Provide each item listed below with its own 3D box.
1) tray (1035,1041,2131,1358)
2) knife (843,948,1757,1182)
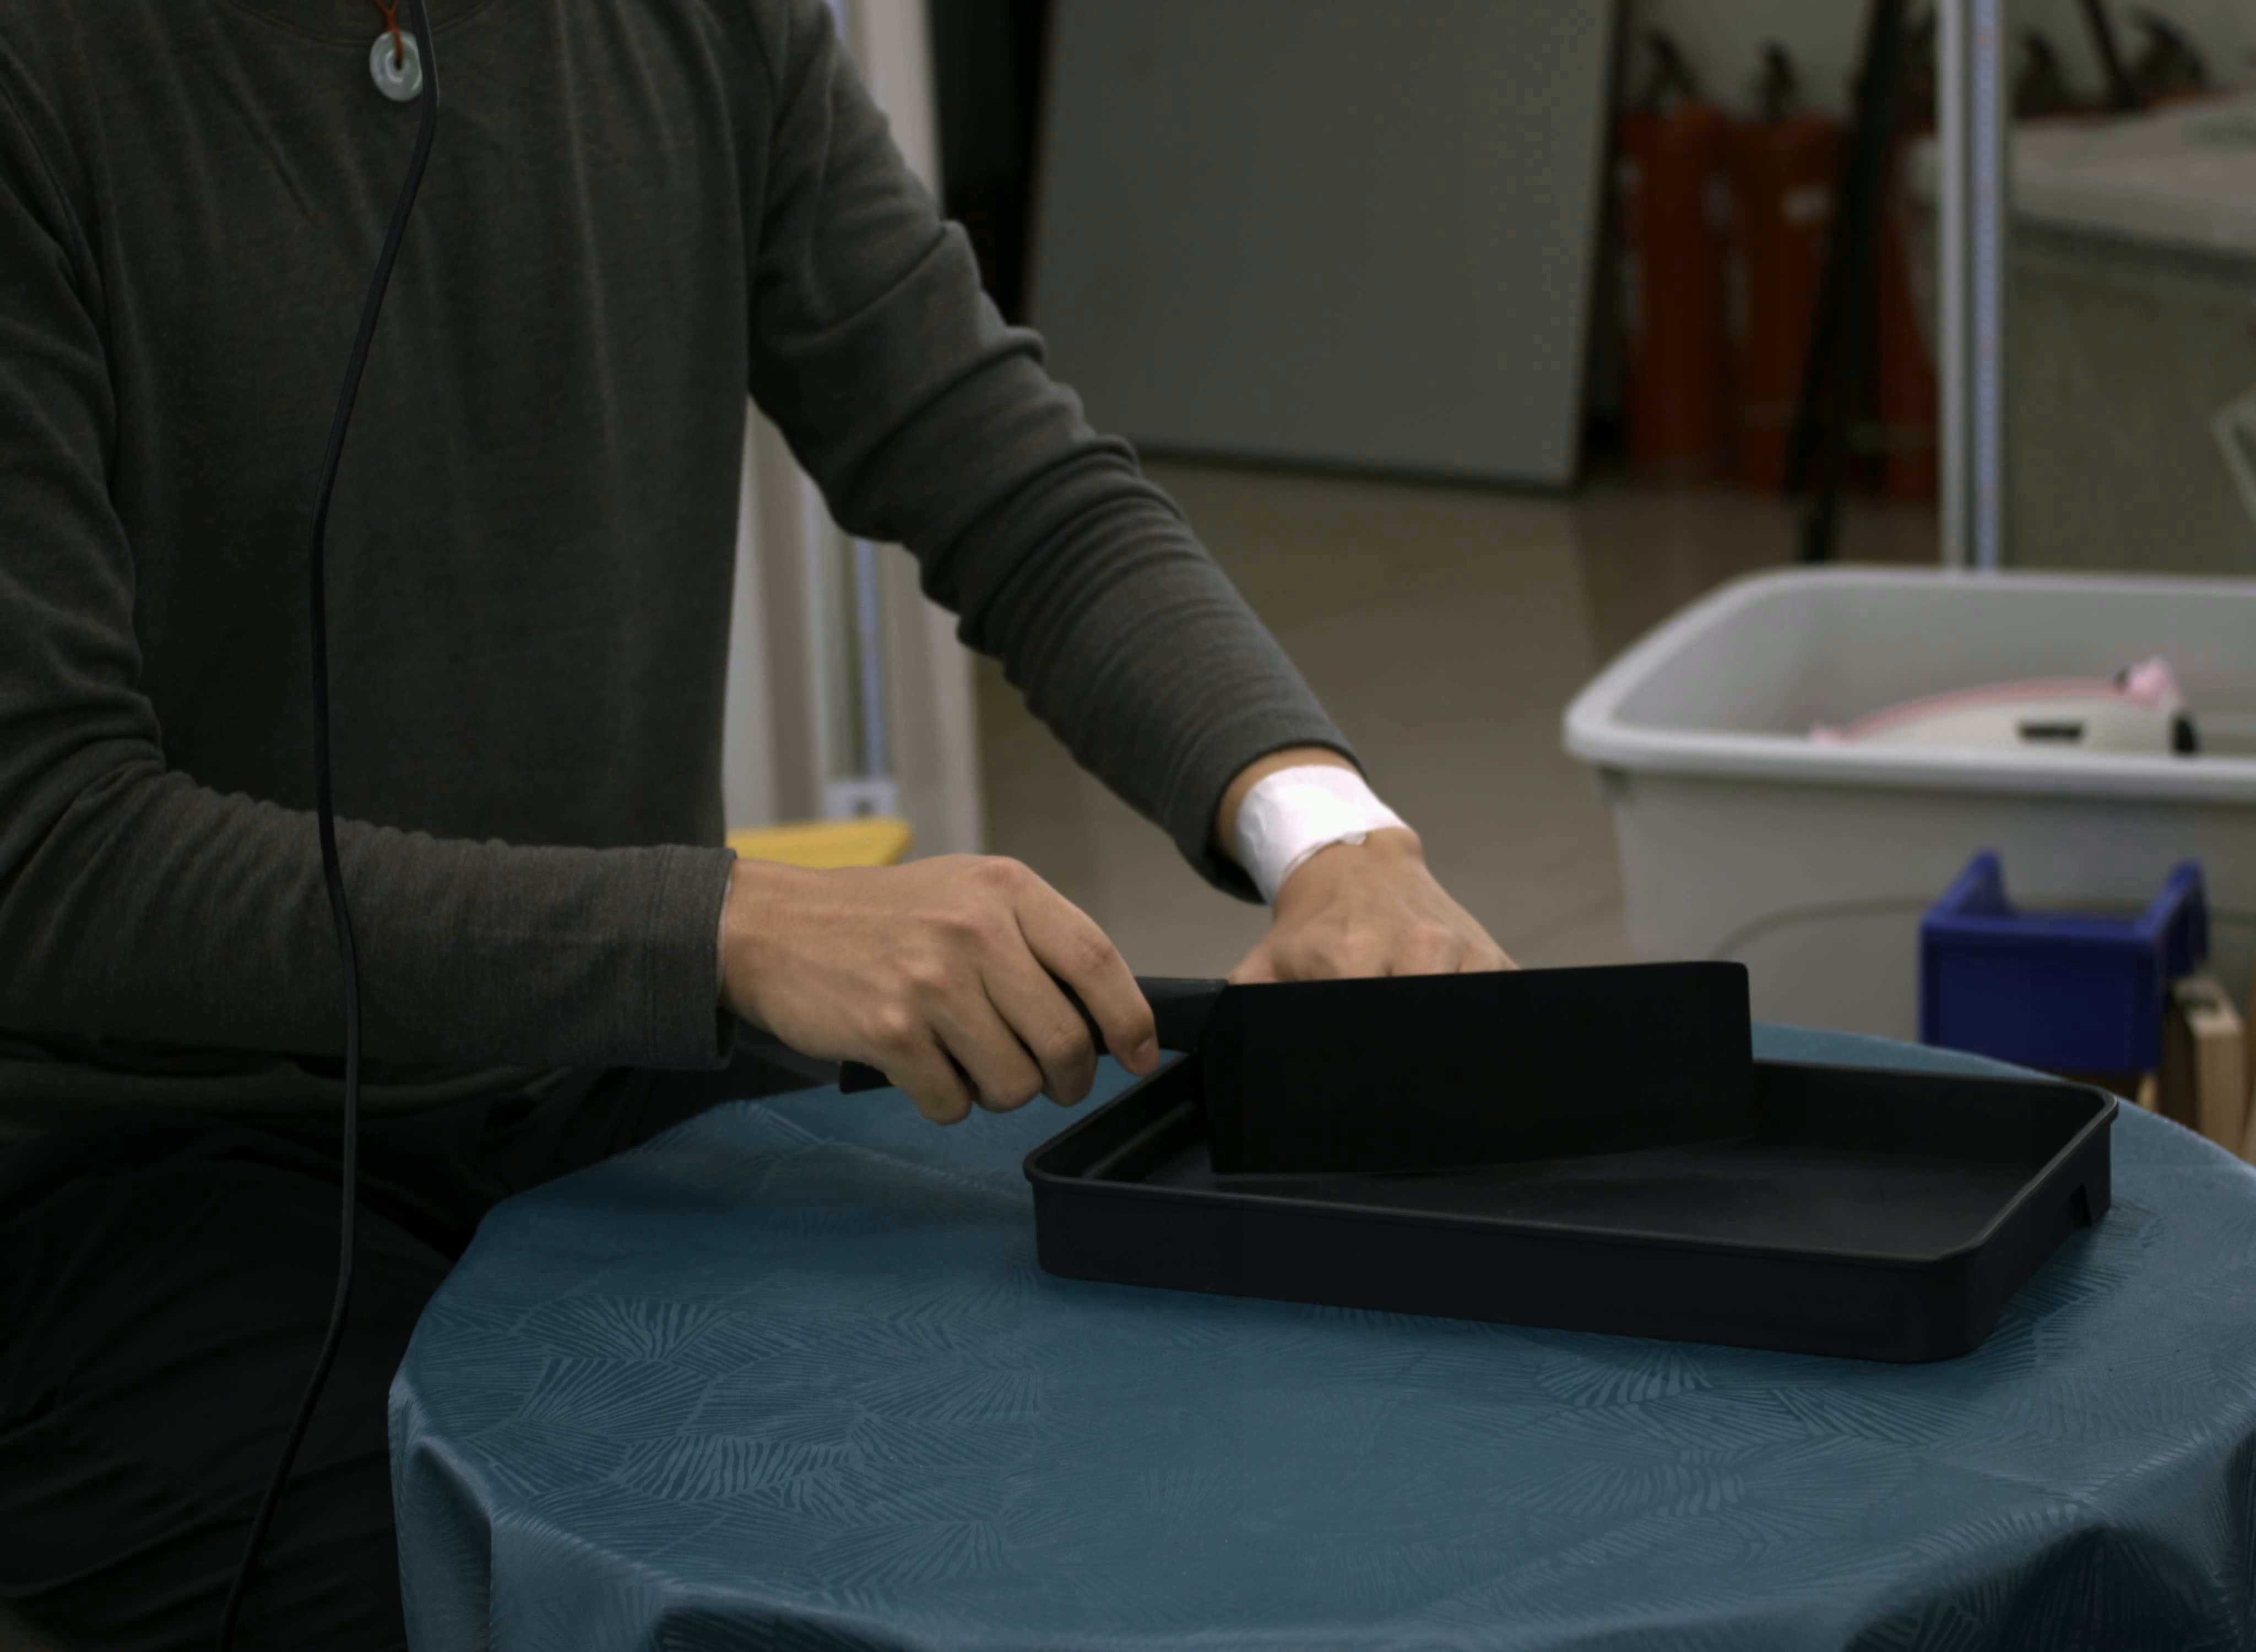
[{"bbox_3d":[0.144,0.111,1.695,0.318,0.037,0.182,3,15,26],"label":"tray"},{"bbox_3d":[0.054,0.077,1.750,0.300,0.082,0.021,0,12,9],"label":"knife"}]
